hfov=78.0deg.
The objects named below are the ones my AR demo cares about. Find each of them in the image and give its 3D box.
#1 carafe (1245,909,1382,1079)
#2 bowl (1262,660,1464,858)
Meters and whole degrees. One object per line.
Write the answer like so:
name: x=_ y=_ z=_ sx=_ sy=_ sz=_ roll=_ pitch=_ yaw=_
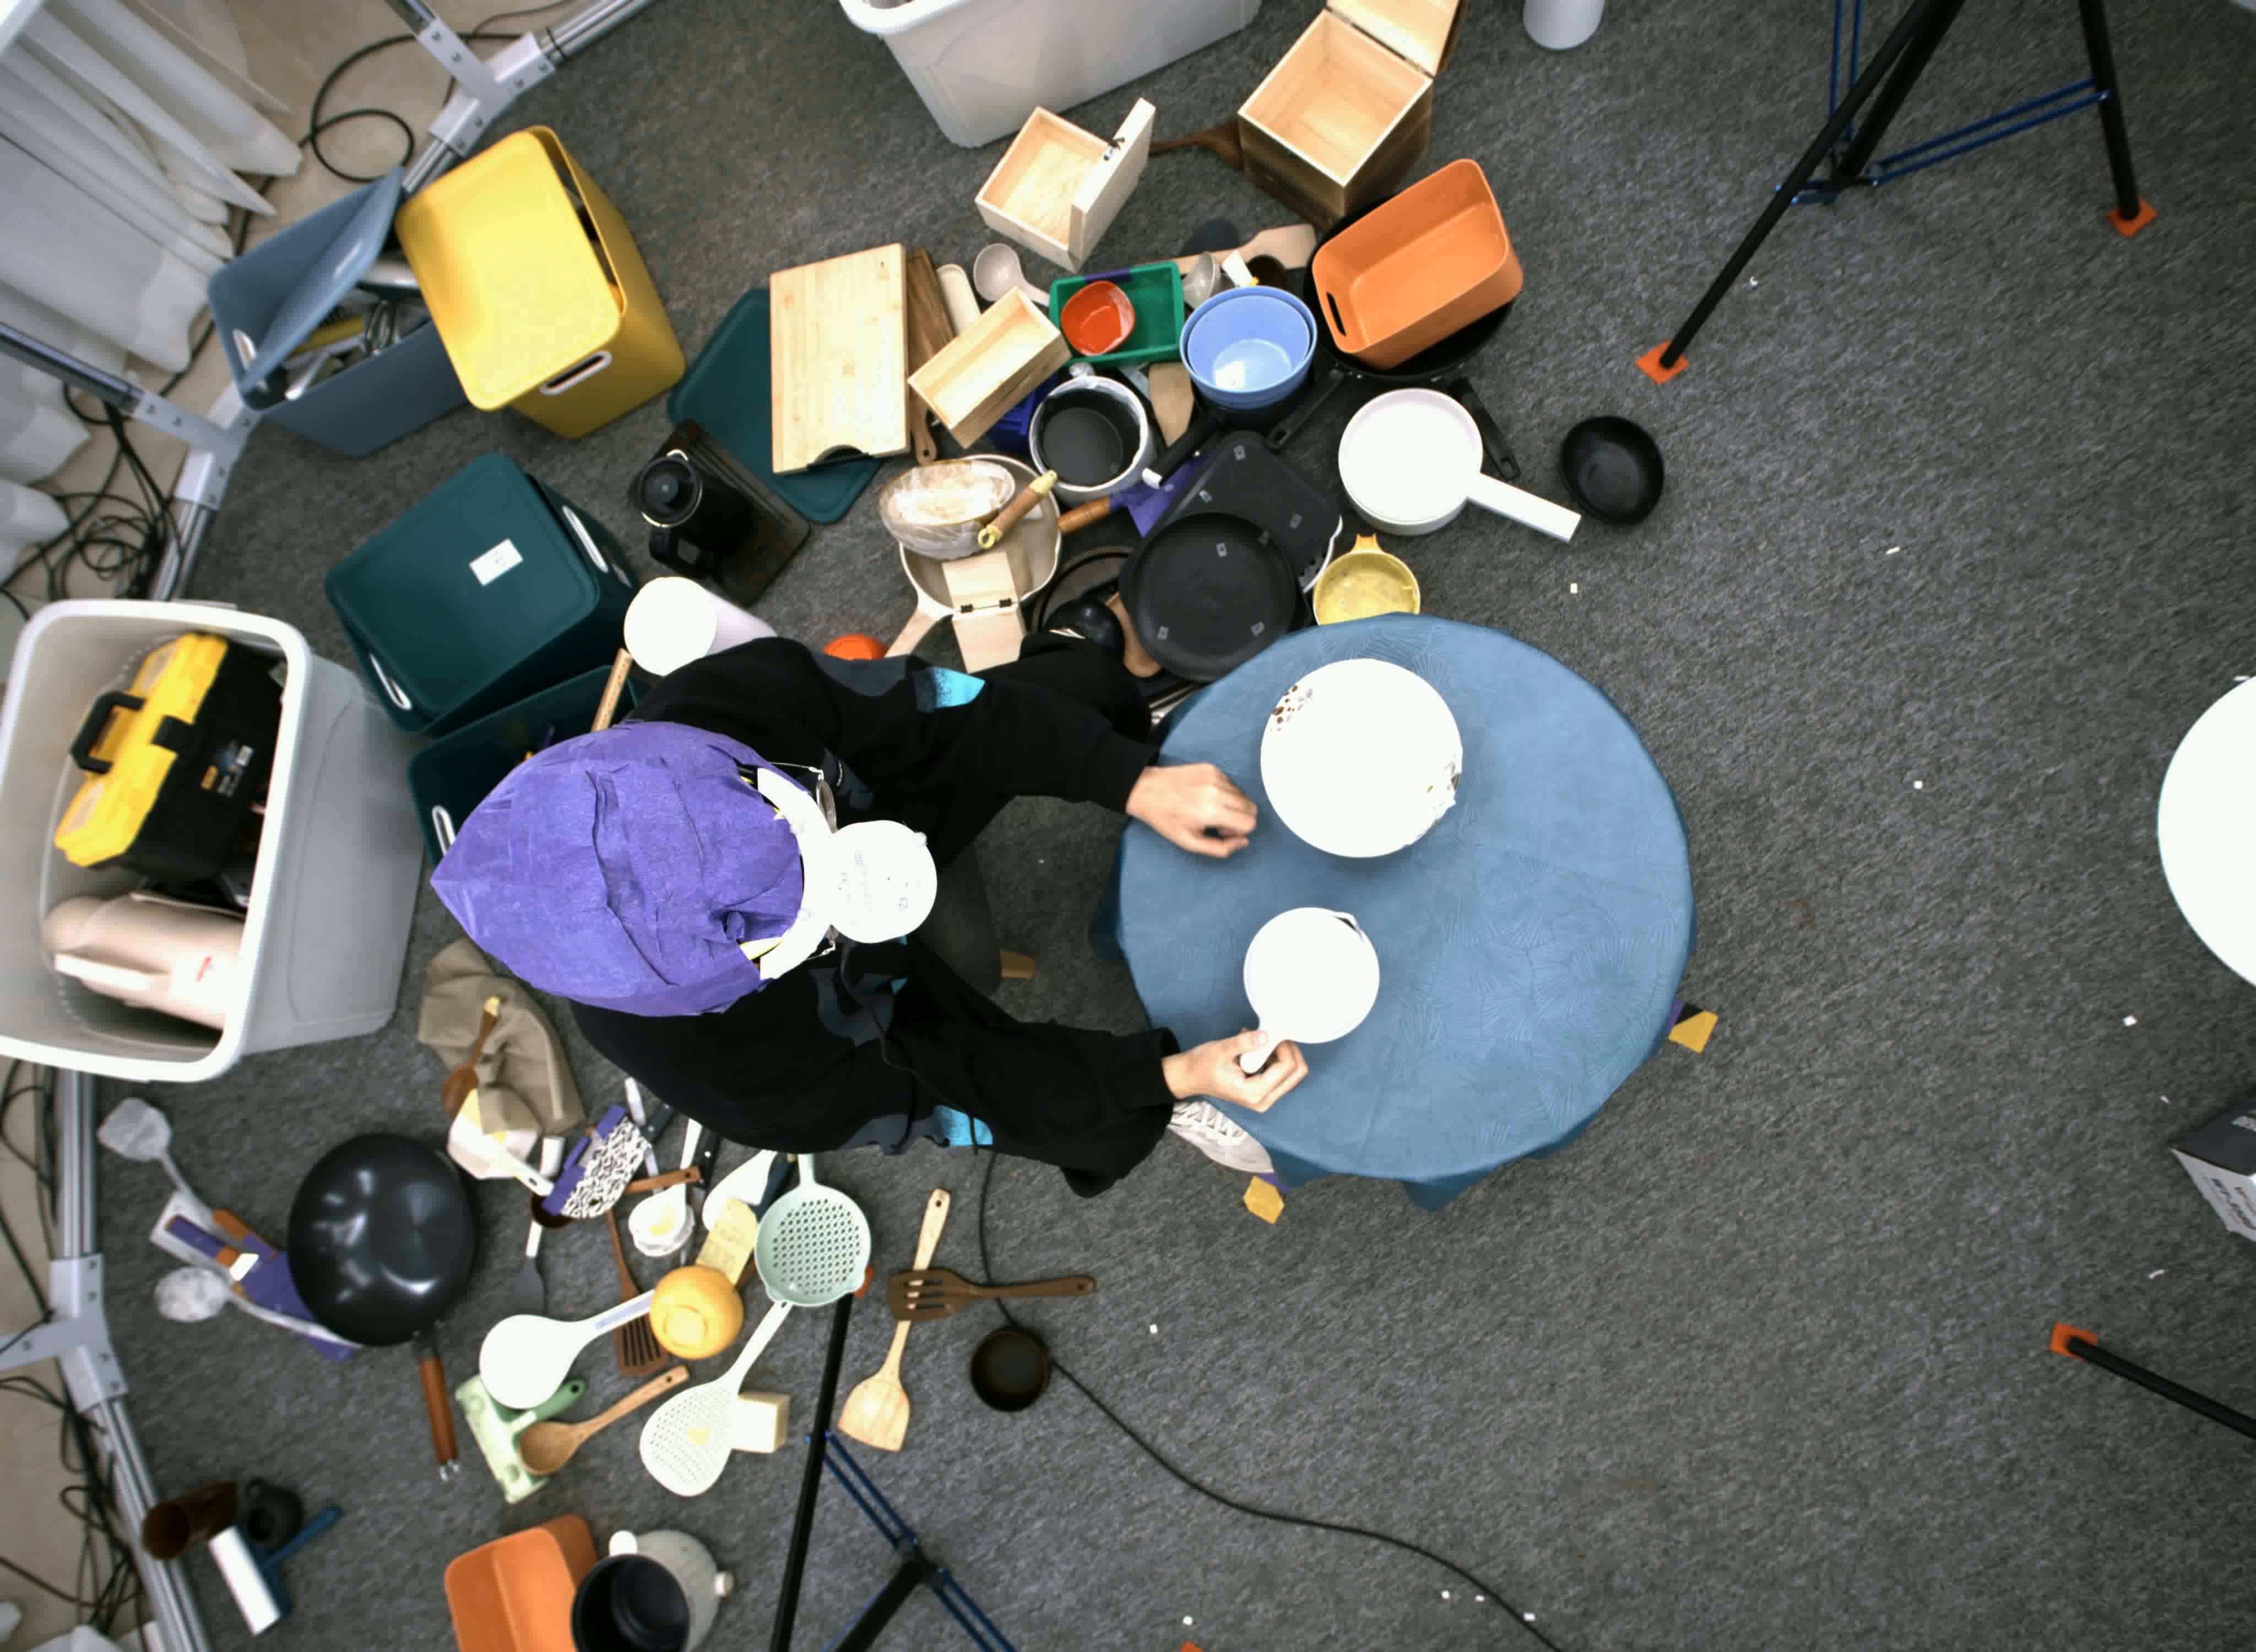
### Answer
carafe: x=0.173 y=0.169 z=1.382 sx=0.132 sy=0.182 sz=0.192 roll=33 pitch=94 yaw=12
bowl: x=0.244 y=-0.066 z=1.429 sx=0.205 sy=0.078 sz=0.203 roll=-1 pitch=86 yaw=13
